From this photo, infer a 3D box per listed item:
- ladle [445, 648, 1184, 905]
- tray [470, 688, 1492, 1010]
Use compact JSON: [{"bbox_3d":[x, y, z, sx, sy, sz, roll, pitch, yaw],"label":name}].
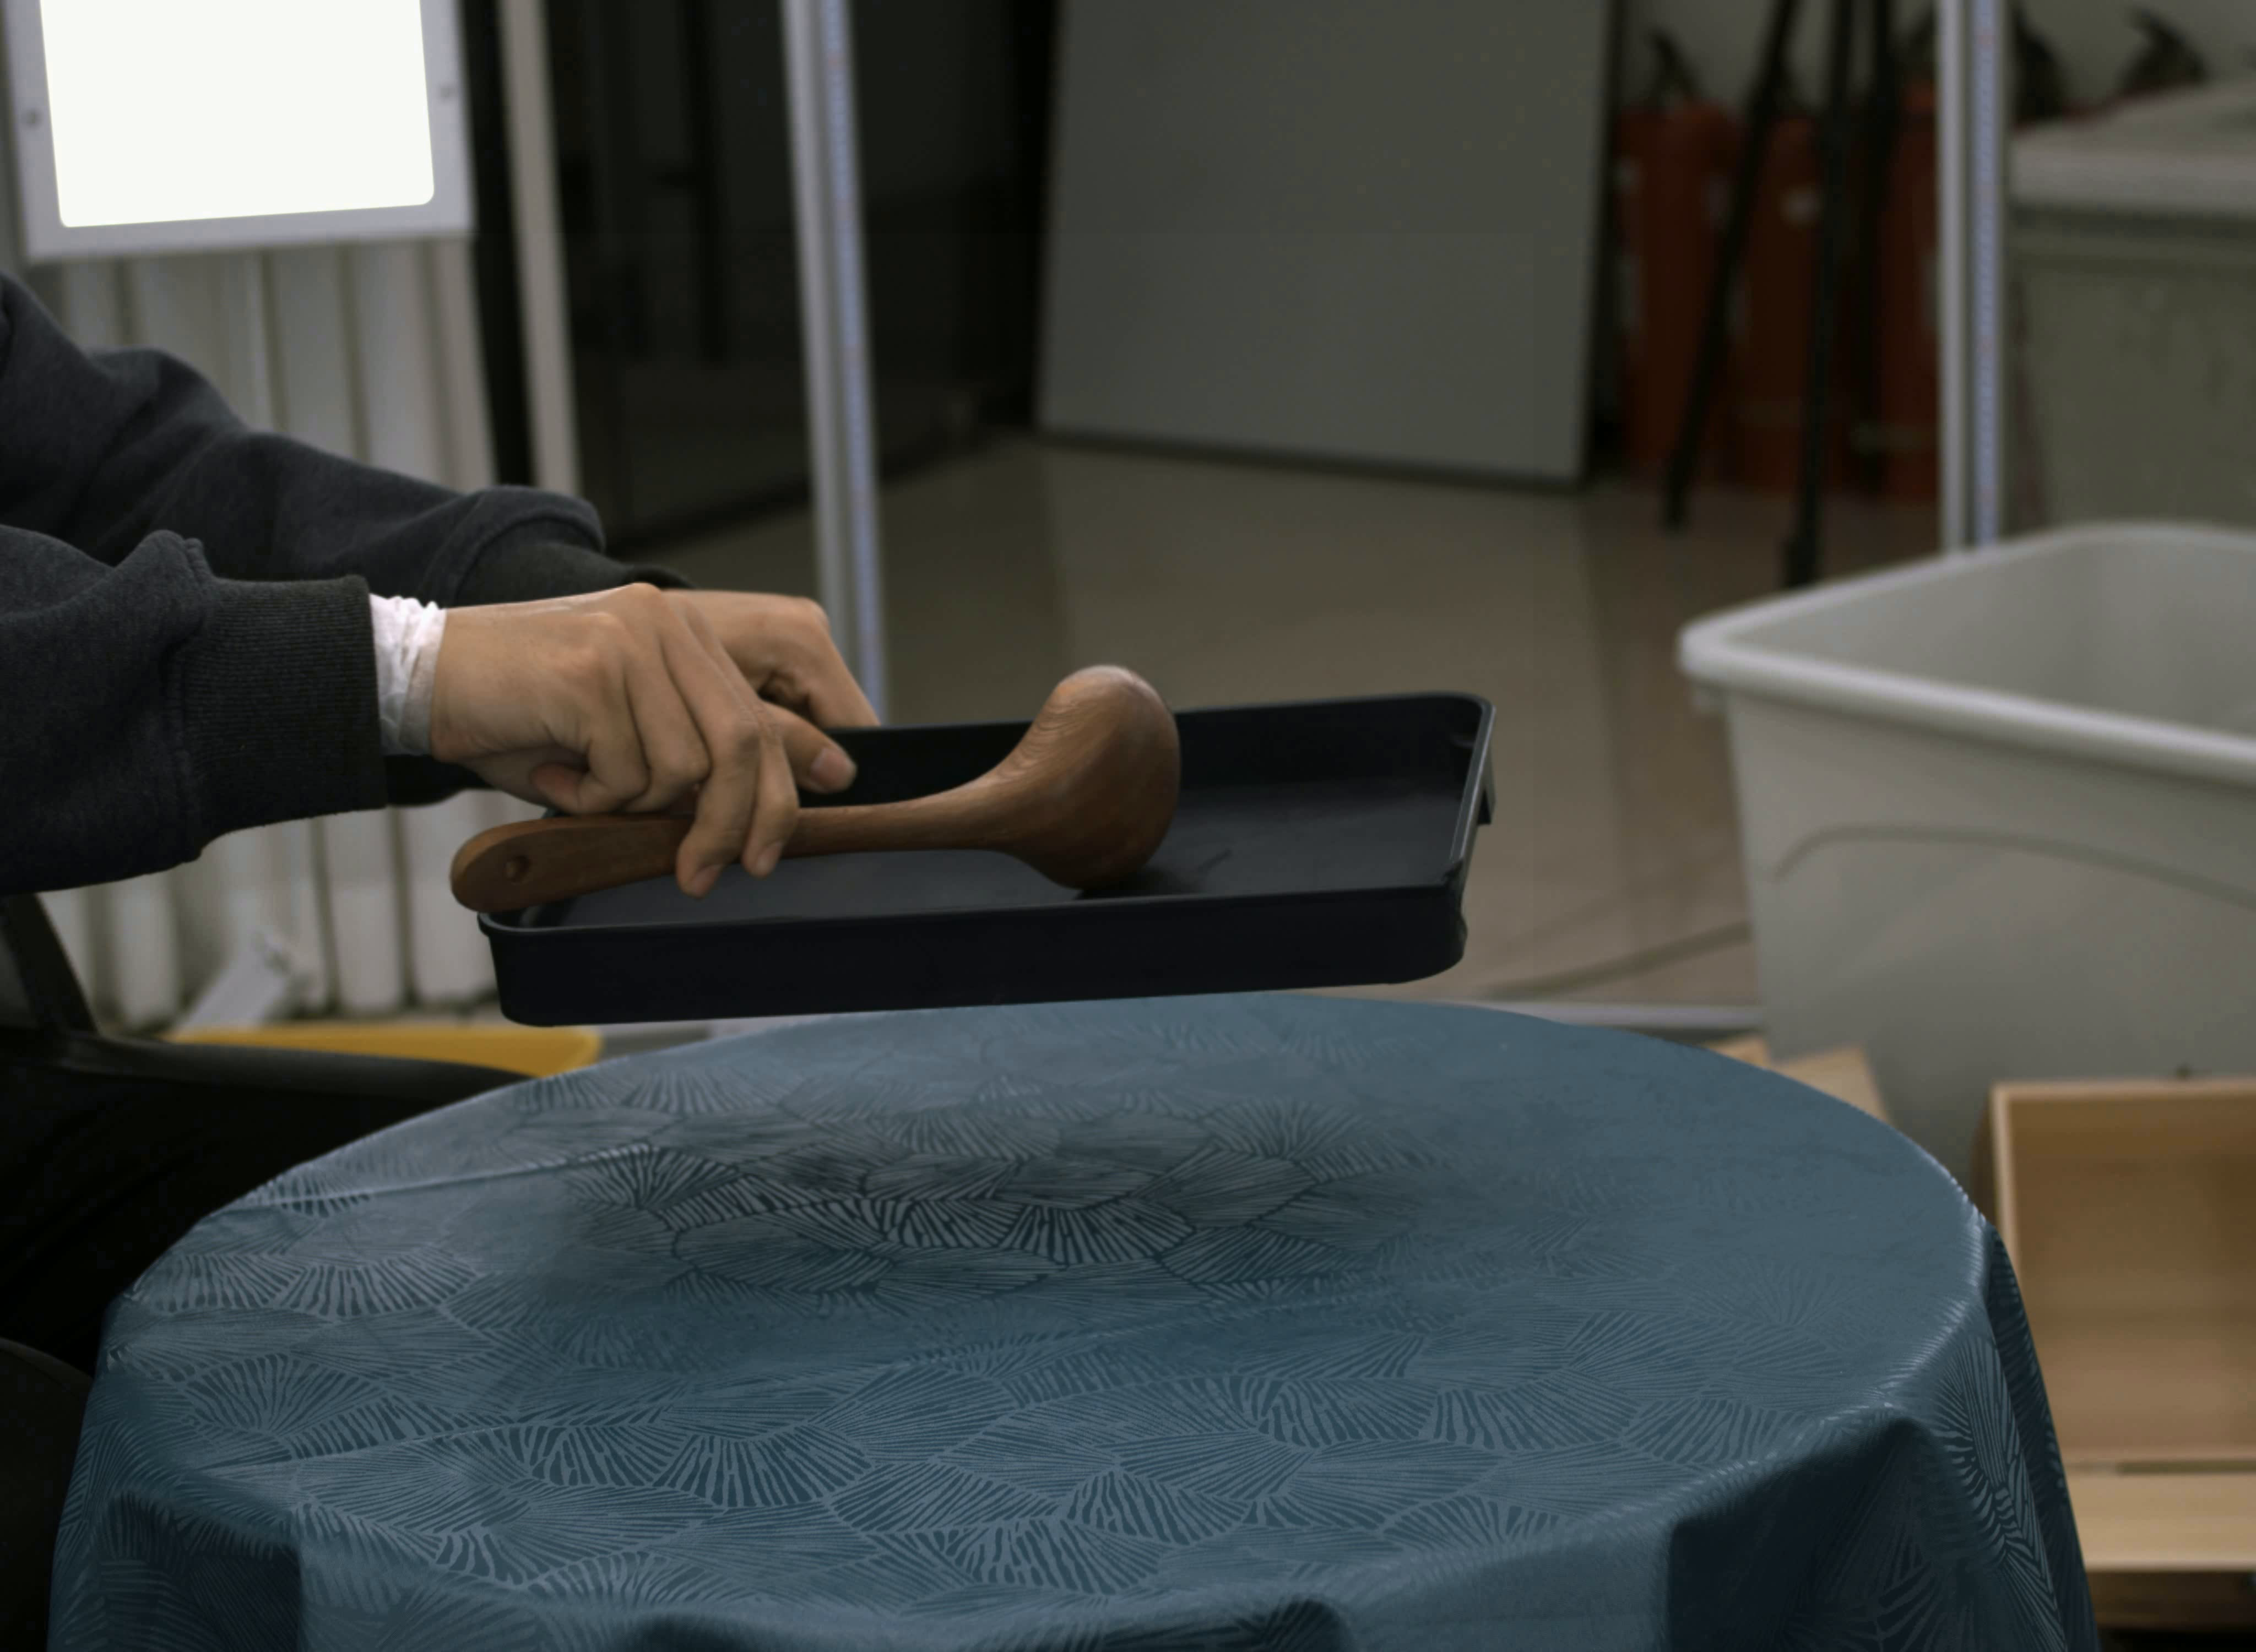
[{"bbox_3d":[-0.097,-0.007,1.707,0.255,0.077,0.066,-7,14,-20],"label":"ladle"},{"bbox_3d":[-0.042,0.006,1.751,0.316,0.037,0.184,-2,20,11],"label":"tray"}]
